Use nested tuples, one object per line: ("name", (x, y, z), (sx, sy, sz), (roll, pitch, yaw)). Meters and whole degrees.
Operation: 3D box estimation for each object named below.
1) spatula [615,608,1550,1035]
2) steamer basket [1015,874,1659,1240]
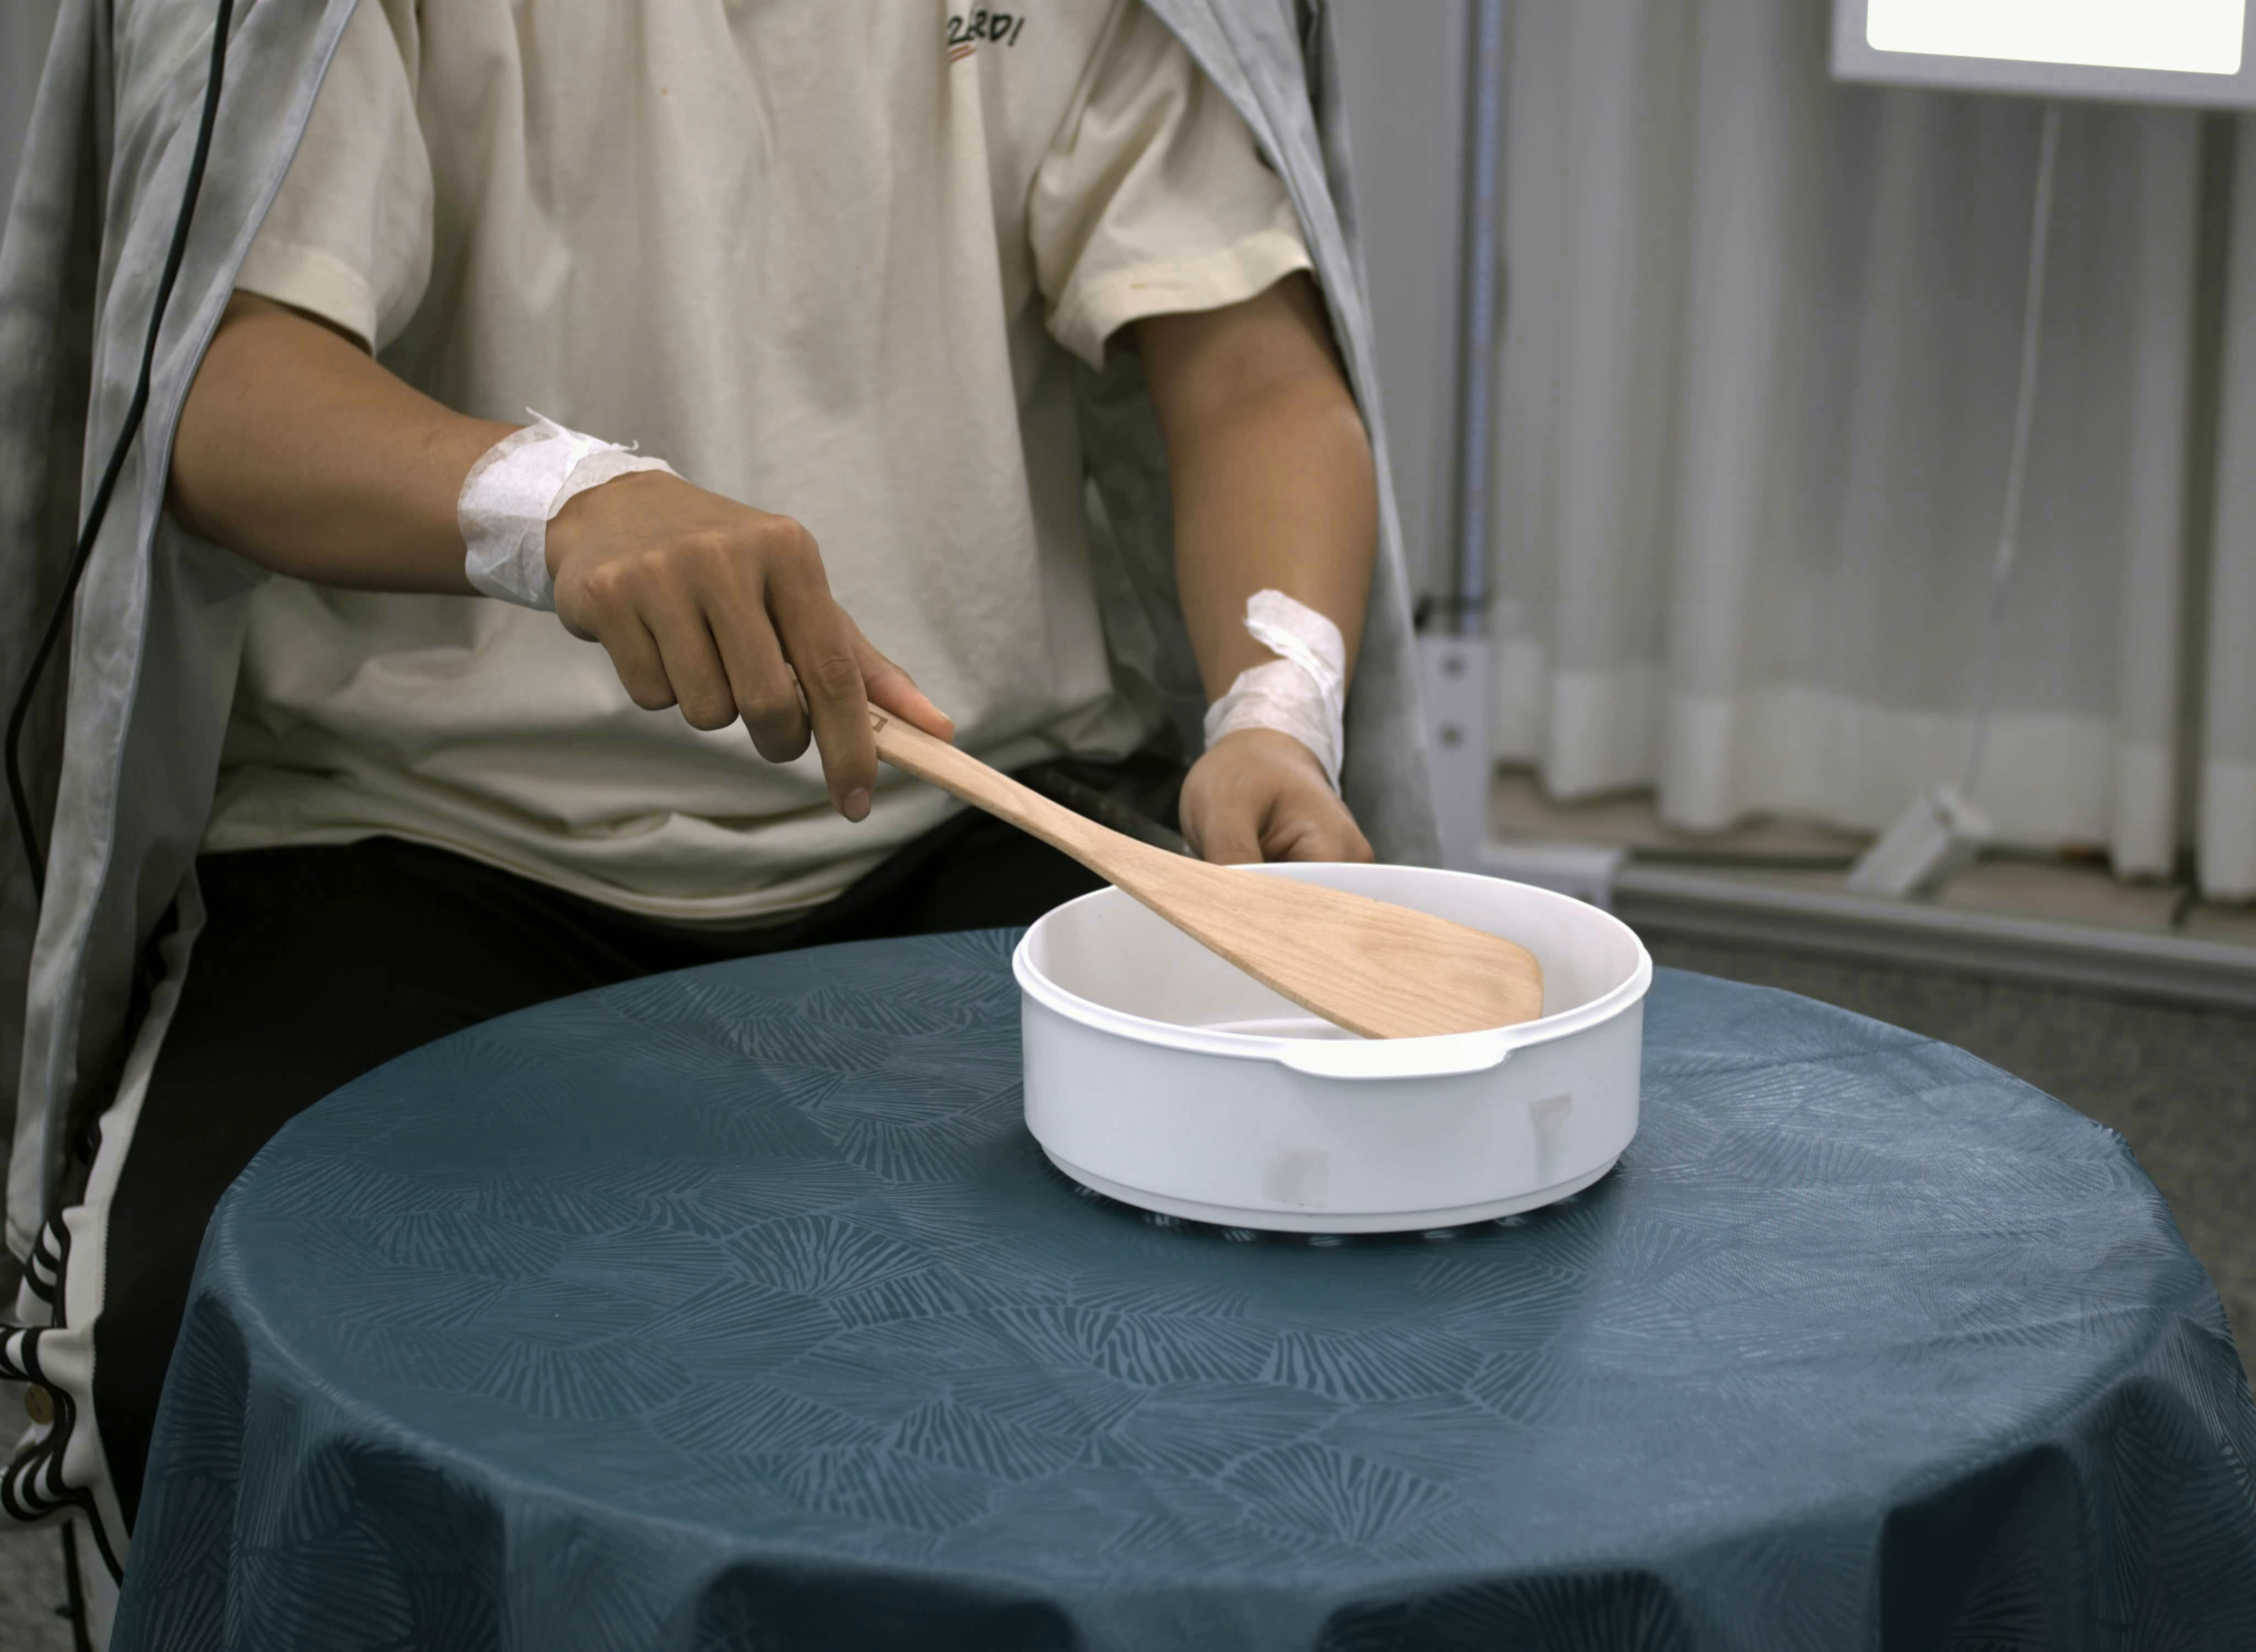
("spatula", (-0.013, -0.001, 1.669), (0.326, 0.016, 0.079), (25, 31, 3))
("steamer basket", (0.064, 0.072, 1.652), (0.202, 0.070, 0.228), (-1, 15, -10))
